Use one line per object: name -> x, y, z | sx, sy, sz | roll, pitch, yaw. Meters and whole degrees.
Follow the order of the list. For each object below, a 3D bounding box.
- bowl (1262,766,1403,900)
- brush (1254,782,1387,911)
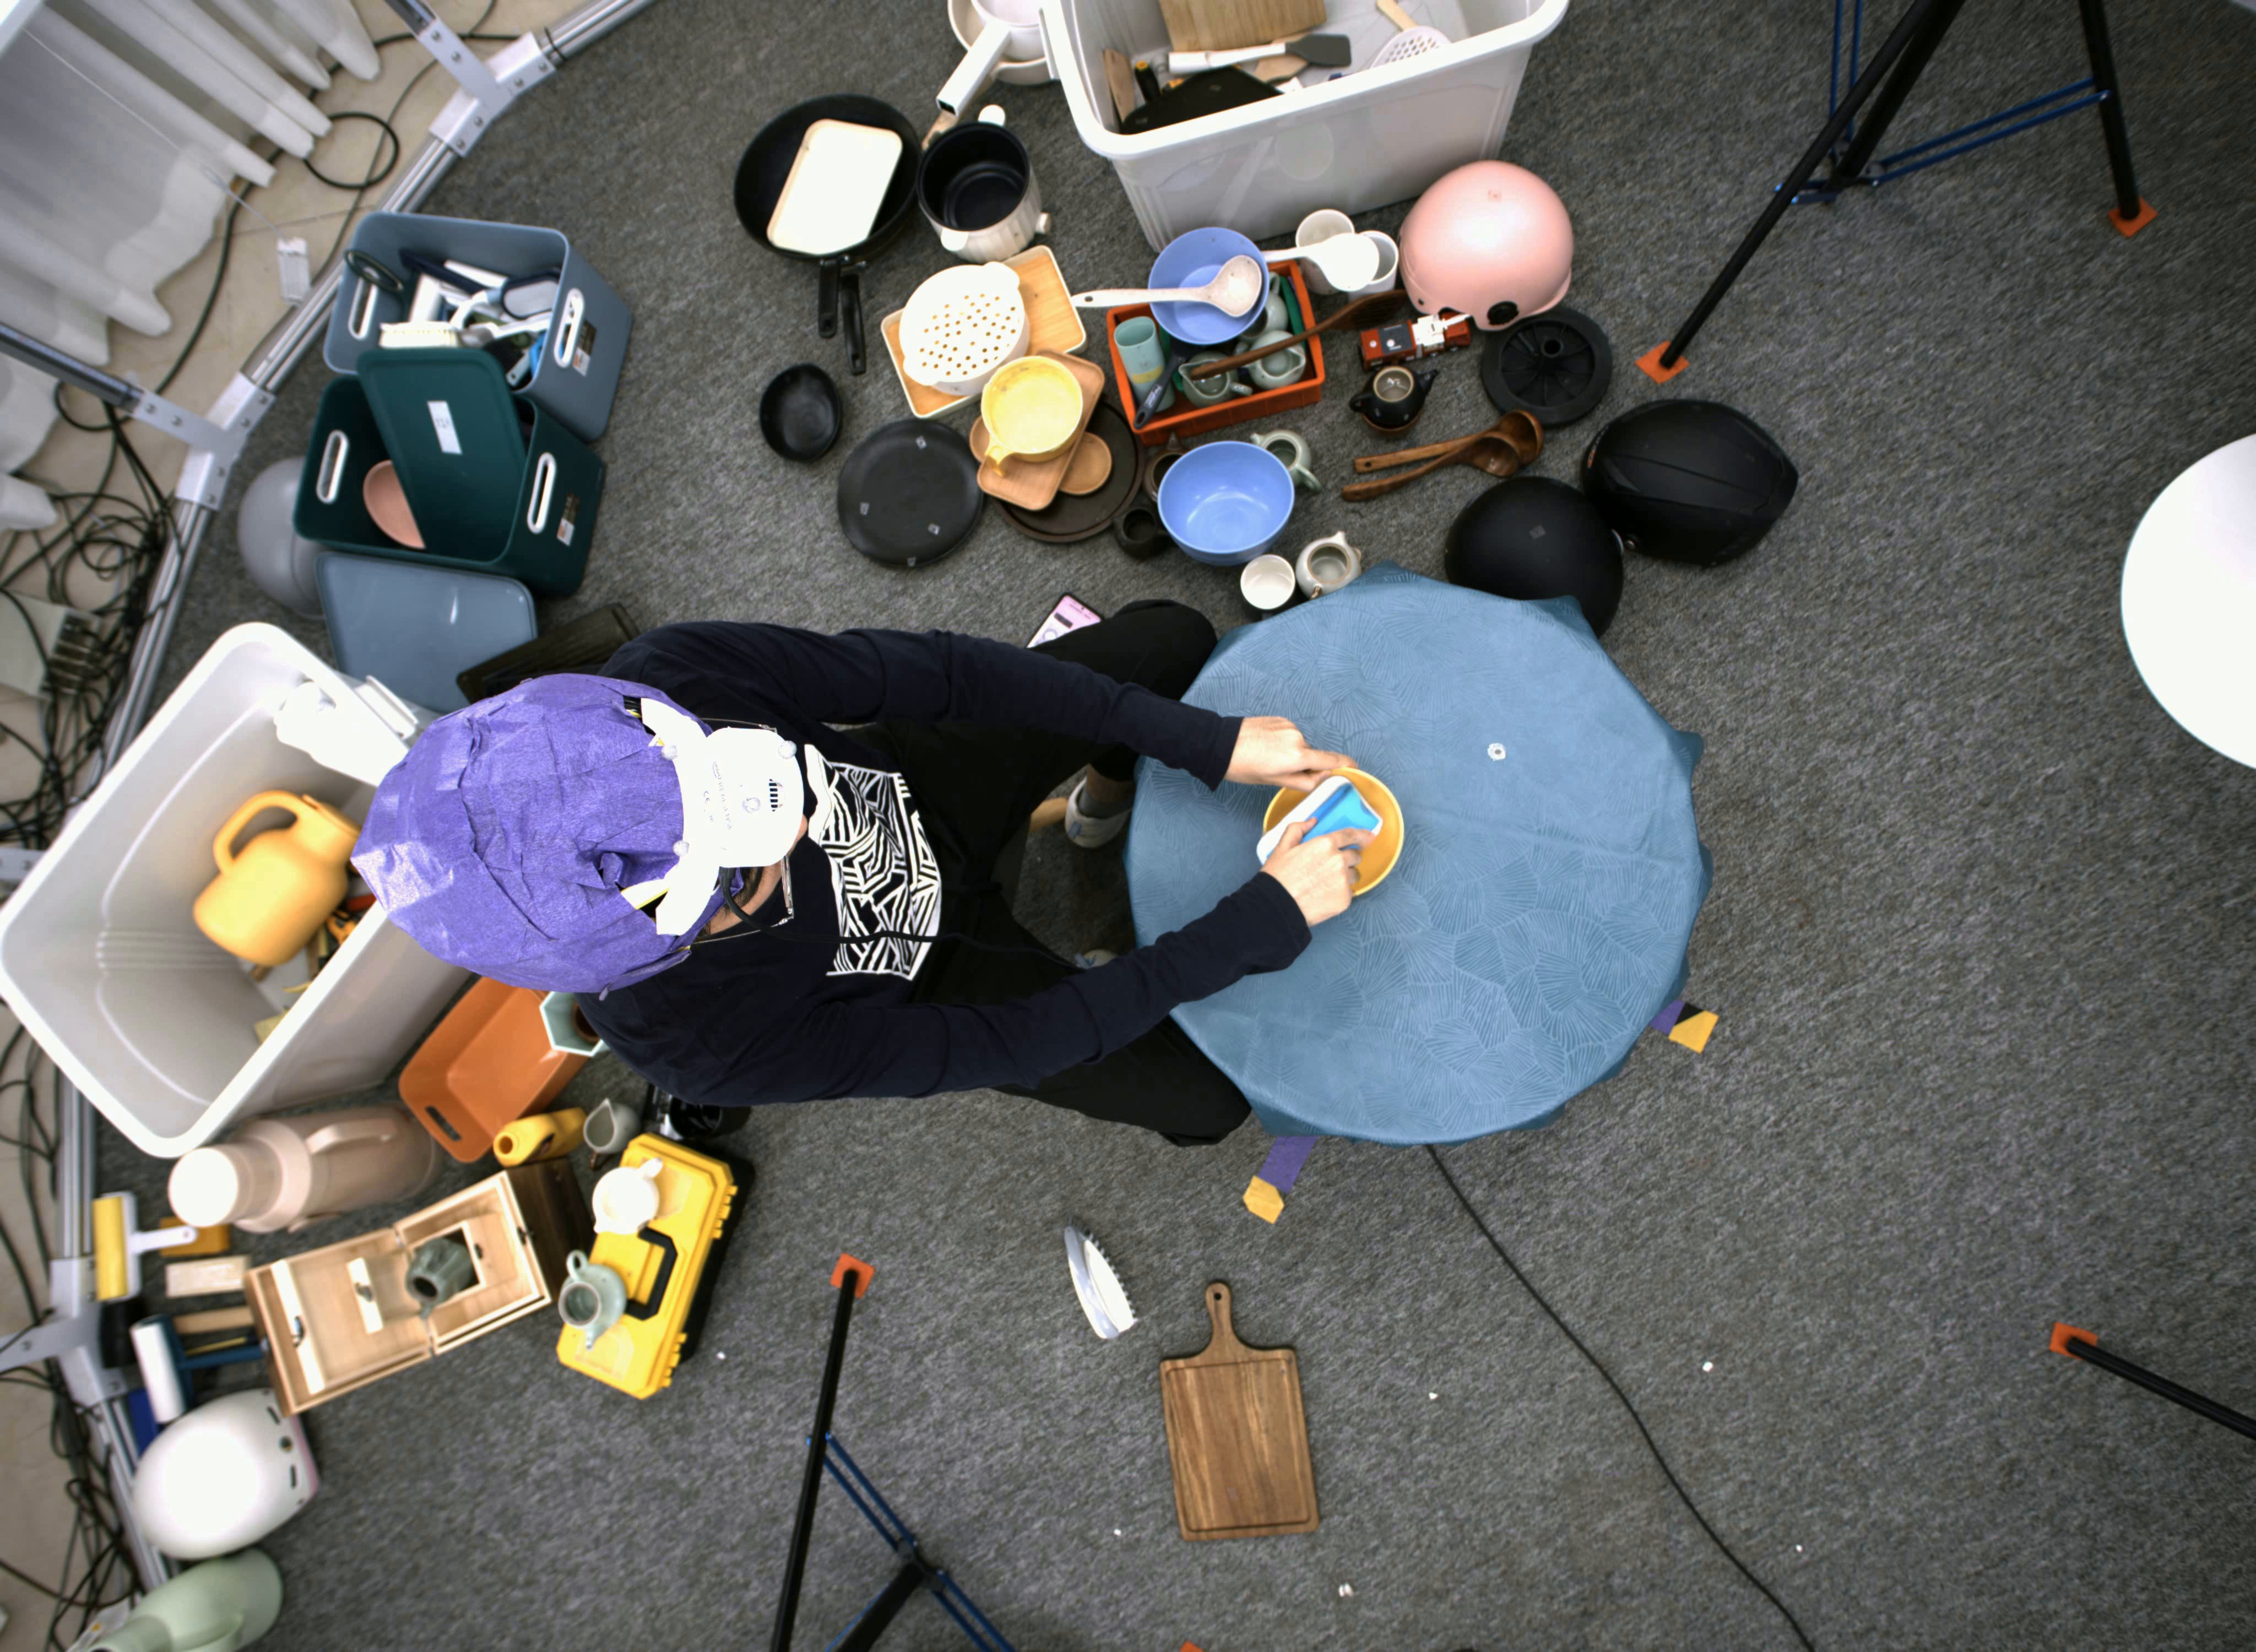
bowl -> 0.208, 0.000, 1.432 | 0.145, 0.059, 0.147 | 0, 108, 0
brush -> 0.199, 0.014, 1.388 | 0.142, 0.057, 0.084 | -39, 91, -21
